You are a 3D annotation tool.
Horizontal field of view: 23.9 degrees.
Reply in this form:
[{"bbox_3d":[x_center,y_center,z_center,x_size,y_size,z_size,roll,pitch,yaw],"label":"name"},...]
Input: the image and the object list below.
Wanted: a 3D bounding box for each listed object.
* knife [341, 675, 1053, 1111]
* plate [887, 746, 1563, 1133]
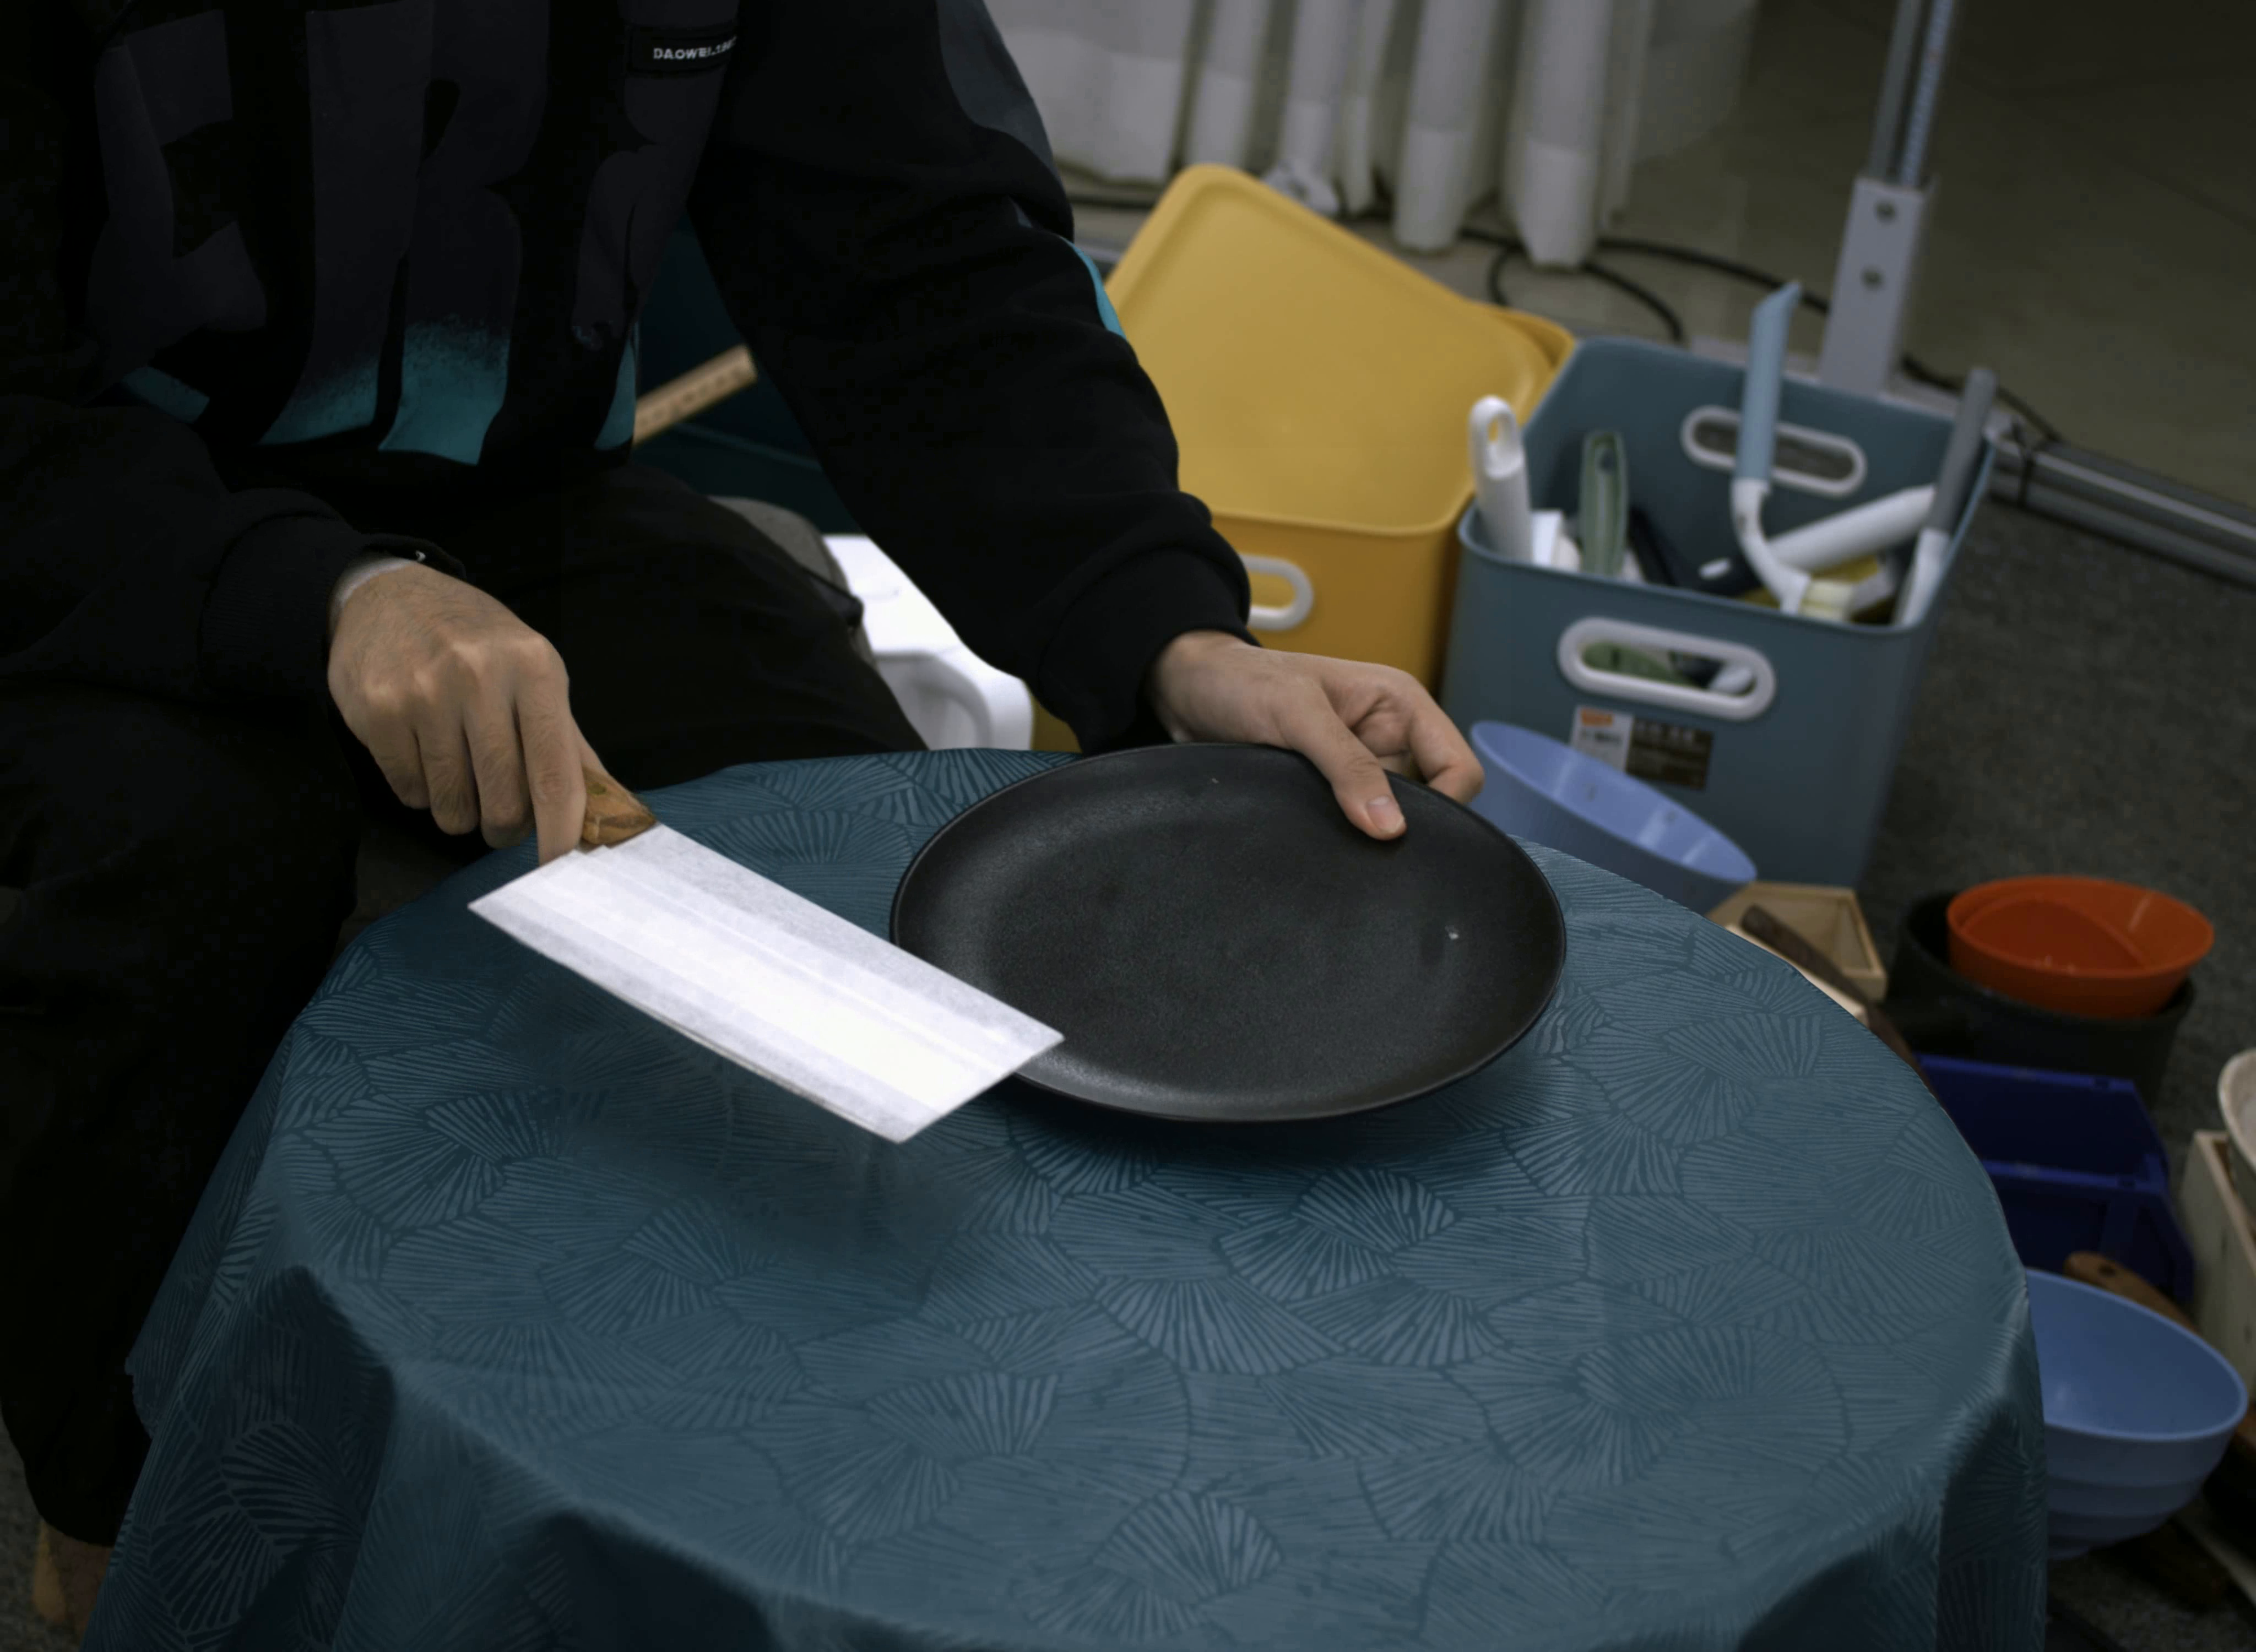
[{"bbox_3d":[-0.167,0.024,1.818,0.307,0.021,0.092,27,35,28],"label":"knife"},{"bbox_3d":[0.035,0.044,1.915,0.243,0.023,0.246,0,33,-1],"label":"plate"}]
